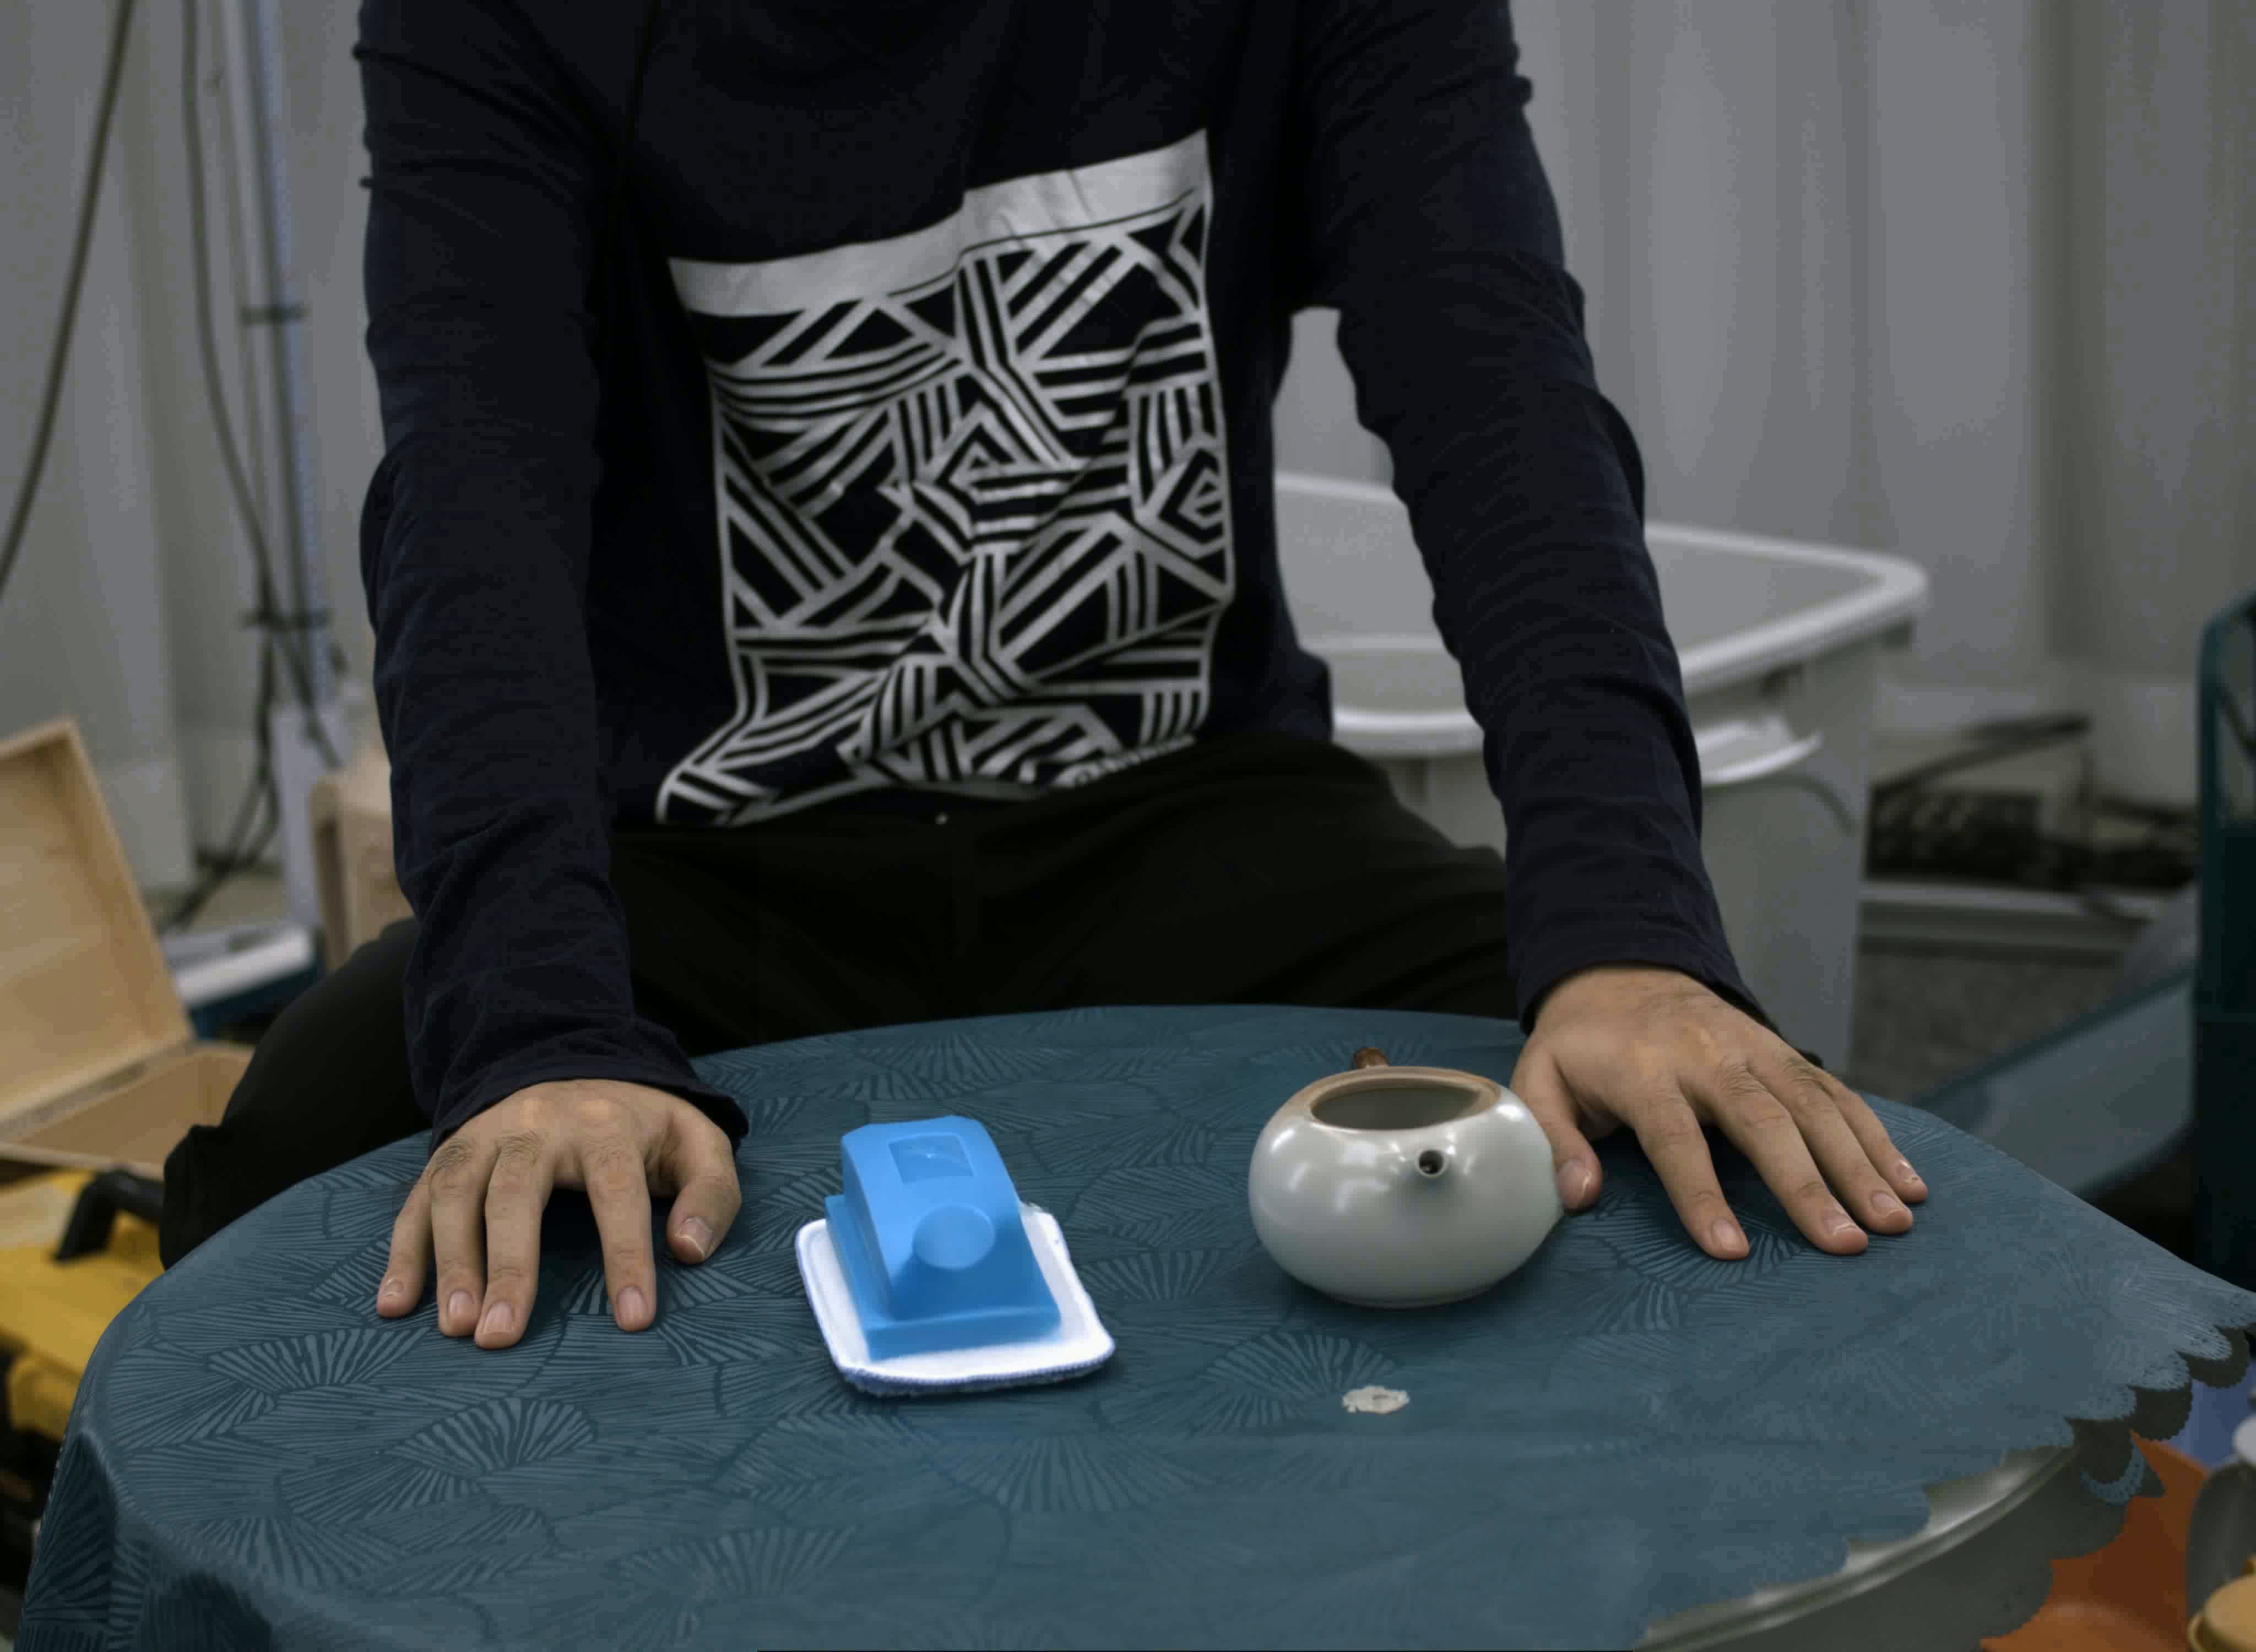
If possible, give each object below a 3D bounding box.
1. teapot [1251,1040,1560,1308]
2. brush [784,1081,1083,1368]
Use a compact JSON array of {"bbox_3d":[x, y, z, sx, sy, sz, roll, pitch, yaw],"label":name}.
[{"bbox_3d":[0.080,0.103,1.627,0.091,0.059,0.129,-8,17,-9],"label":"teapot"},{"bbox_3d":[-0.057,0.114,1.610,0.083,0.055,0.145,-2,17,-7],"label":"brush"}]
